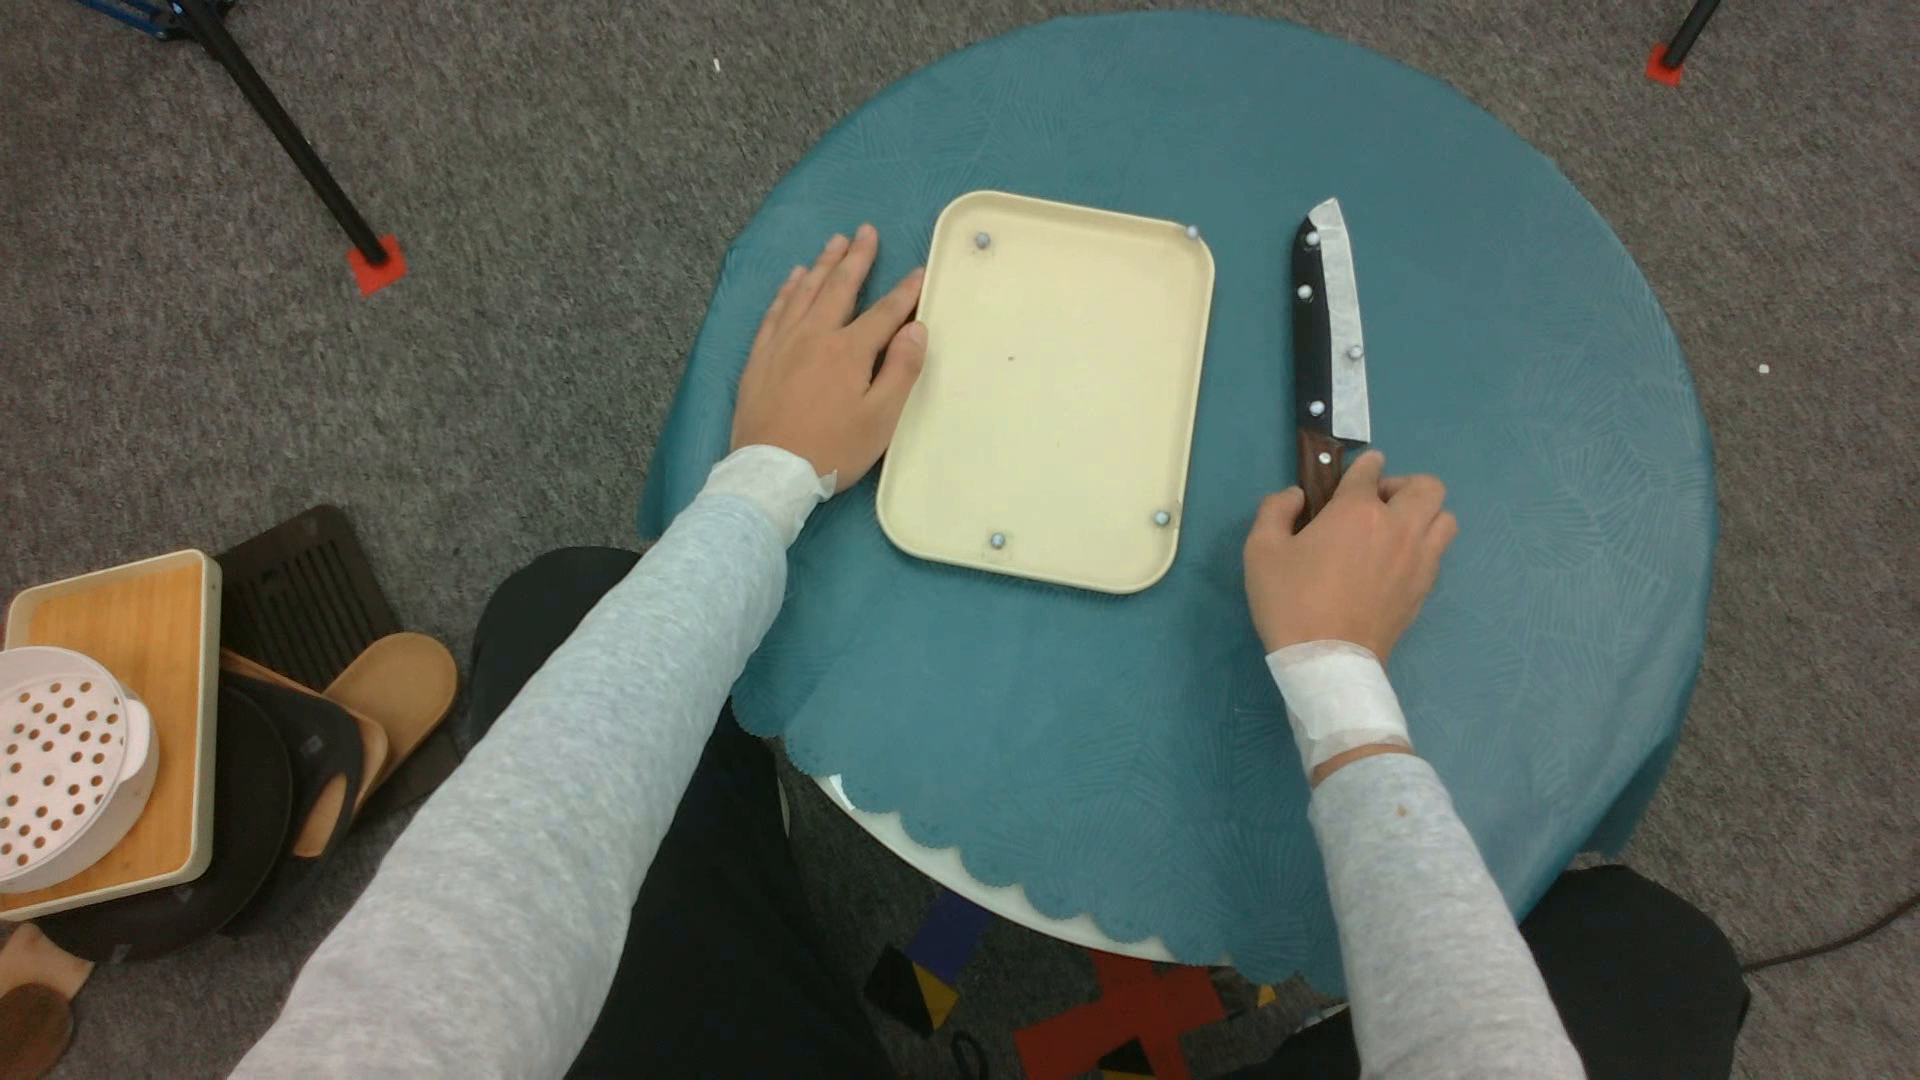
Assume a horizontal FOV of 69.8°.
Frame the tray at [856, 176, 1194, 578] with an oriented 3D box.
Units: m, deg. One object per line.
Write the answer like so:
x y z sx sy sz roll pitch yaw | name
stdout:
0.041 -0.098 0.797 0.171 0.017 0.240 11 70 1 | tray

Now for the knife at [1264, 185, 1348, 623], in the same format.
0.202 -0.088 0.804 0.050 0.020 0.290 7 67 -5 | knife
